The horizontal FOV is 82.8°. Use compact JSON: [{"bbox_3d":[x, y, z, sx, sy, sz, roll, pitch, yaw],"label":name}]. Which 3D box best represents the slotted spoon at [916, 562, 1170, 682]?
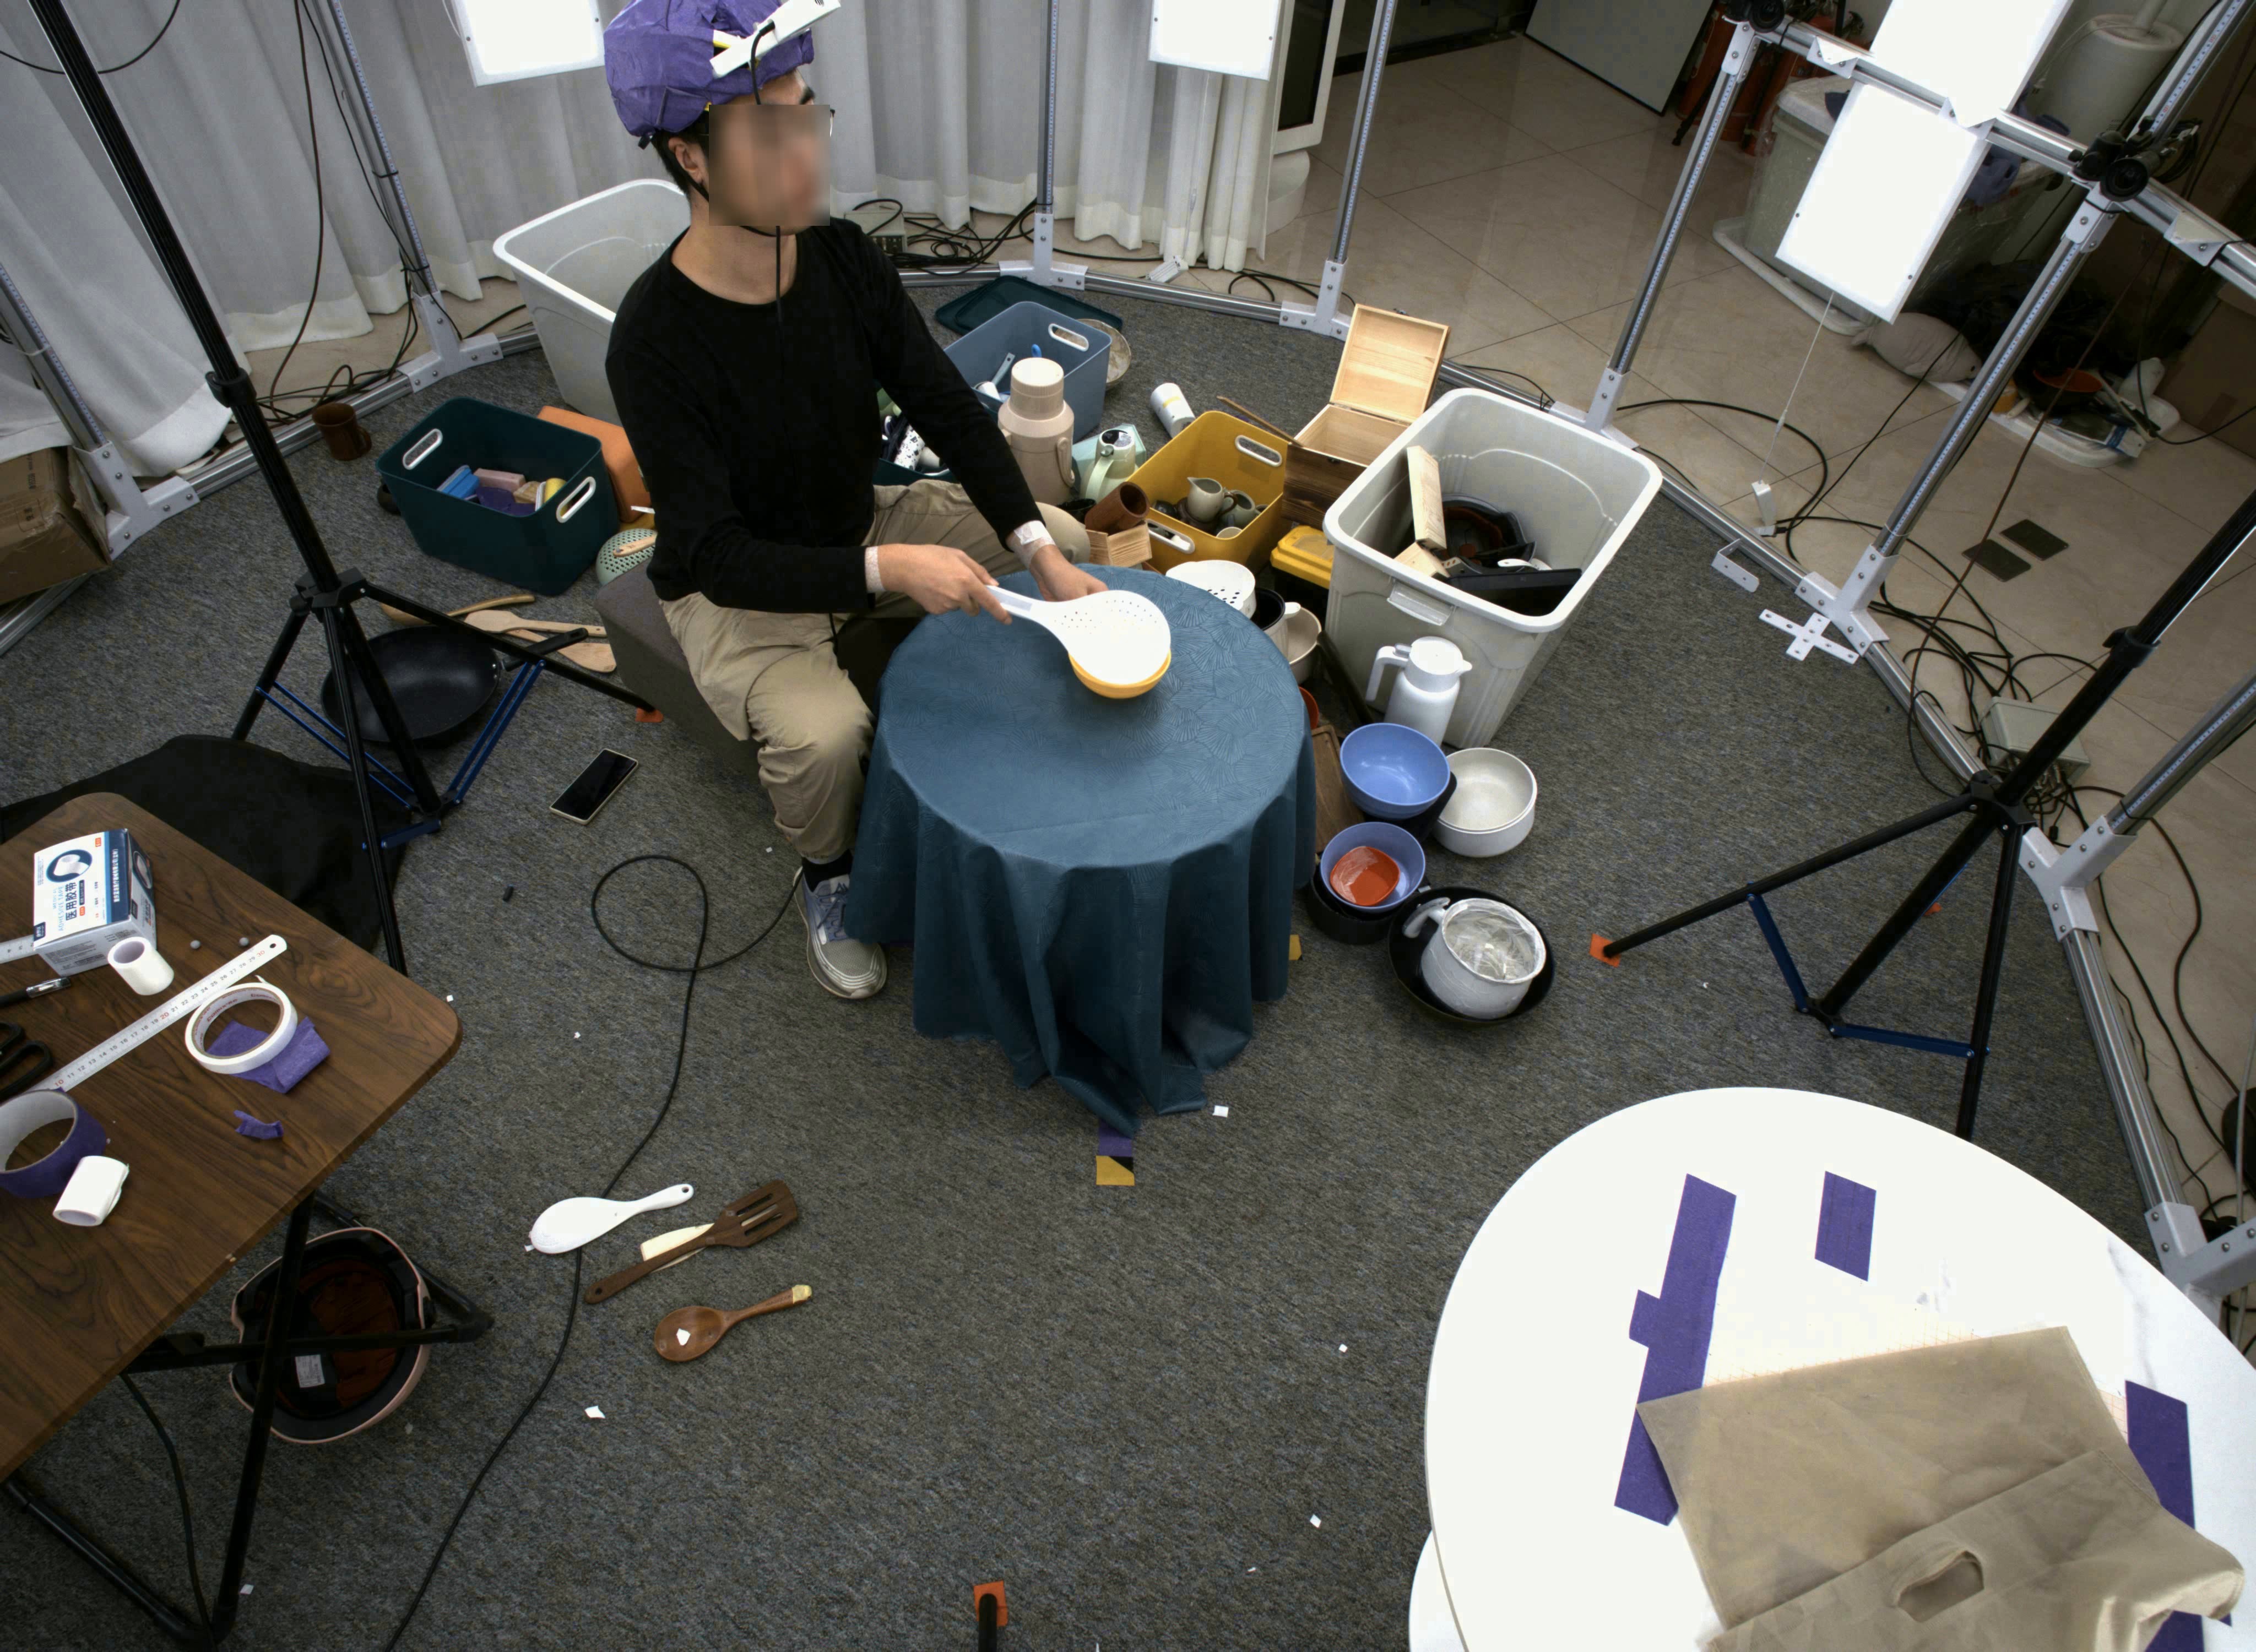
[{"bbox_3d":[-0.114,-0.287,1.732,0.349,0.045,0.138,19,70,-6],"label":"slotted spoon"}]

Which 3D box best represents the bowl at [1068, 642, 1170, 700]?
[{"bbox_3d":[-0.016,-0.226,1.829,0.145,0.058,0.149,3,48,-4],"label":"bowl"}]
